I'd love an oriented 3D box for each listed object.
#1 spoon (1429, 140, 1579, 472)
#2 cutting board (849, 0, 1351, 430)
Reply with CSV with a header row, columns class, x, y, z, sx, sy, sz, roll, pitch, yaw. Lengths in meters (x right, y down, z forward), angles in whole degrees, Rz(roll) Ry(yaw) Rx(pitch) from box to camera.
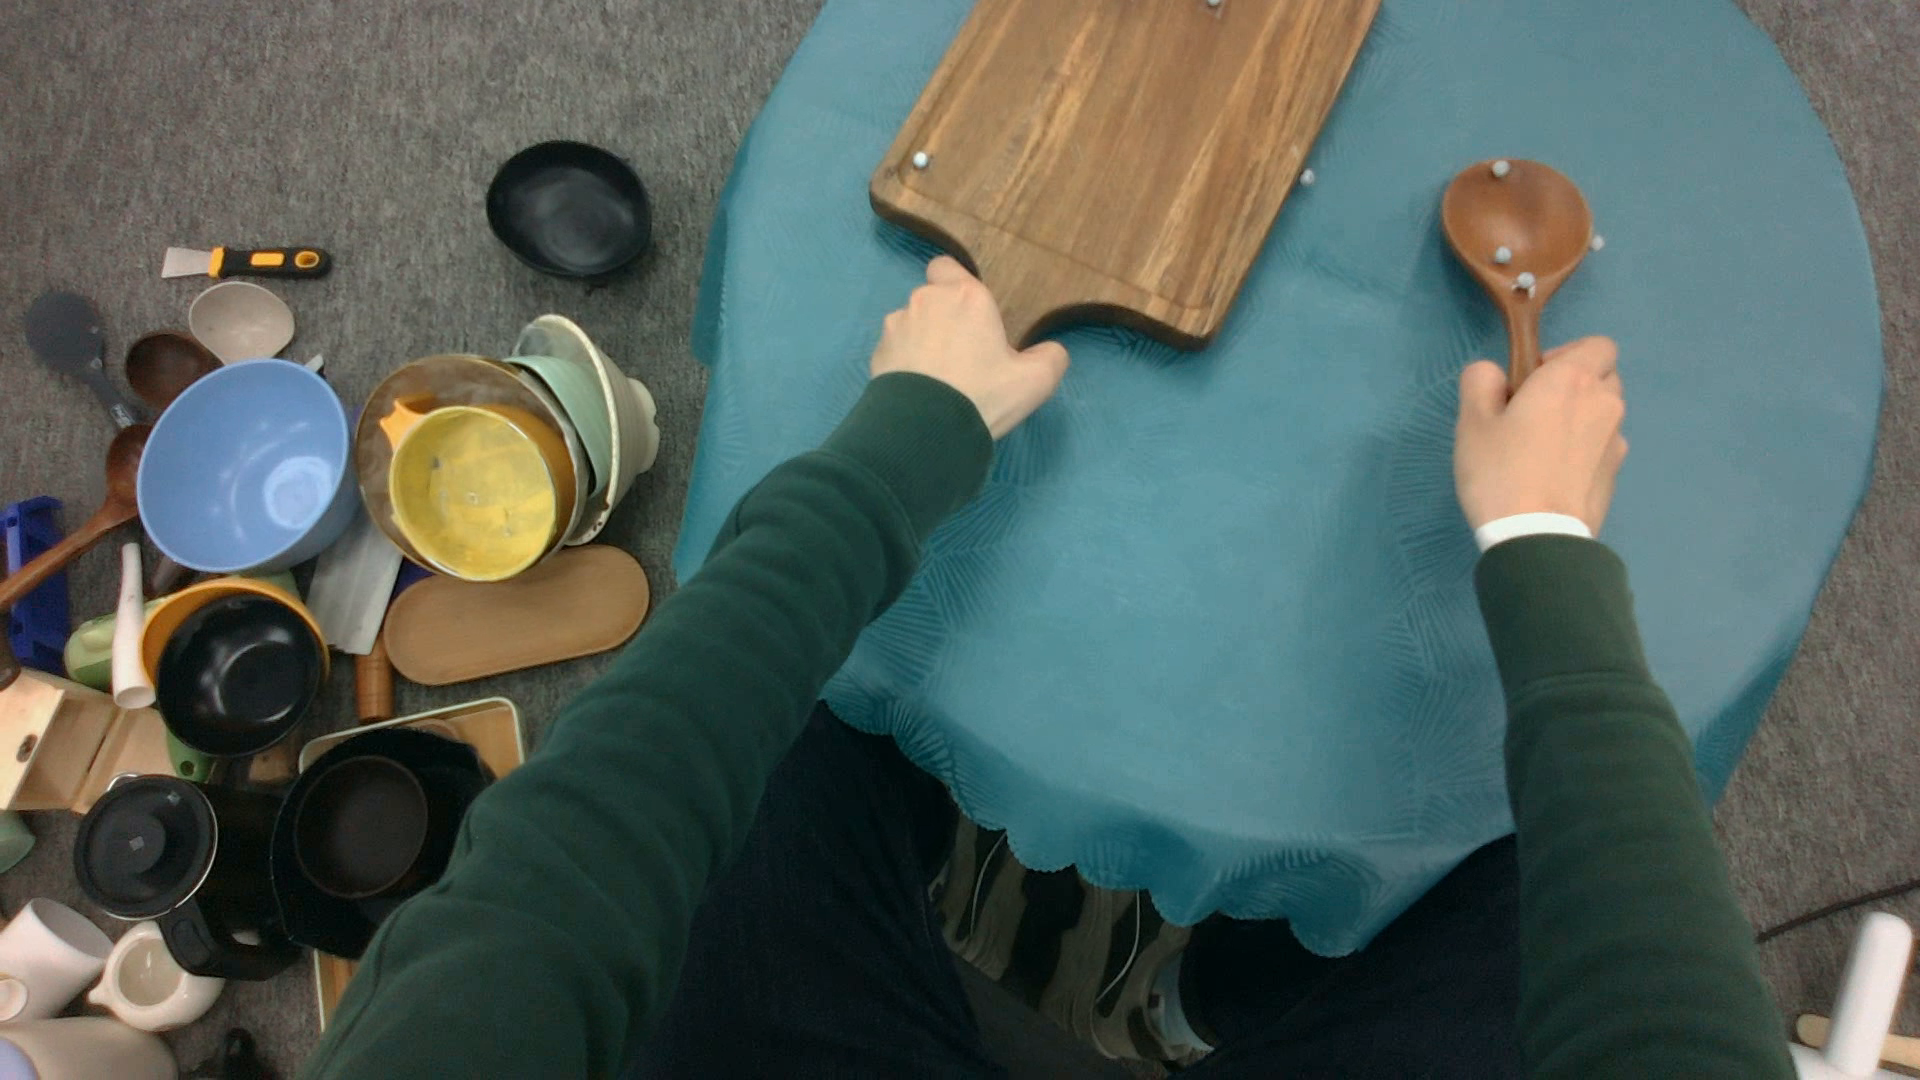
class,x,y,z,sx,sy,sz,roll,pitch,yaw
spoon,0.265,-0.119,0.664,0.075,0.017,0.217,9,55,4
cutting board,0.060,-0.209,0.719,0.201,0.023,0.353,25,73,7
